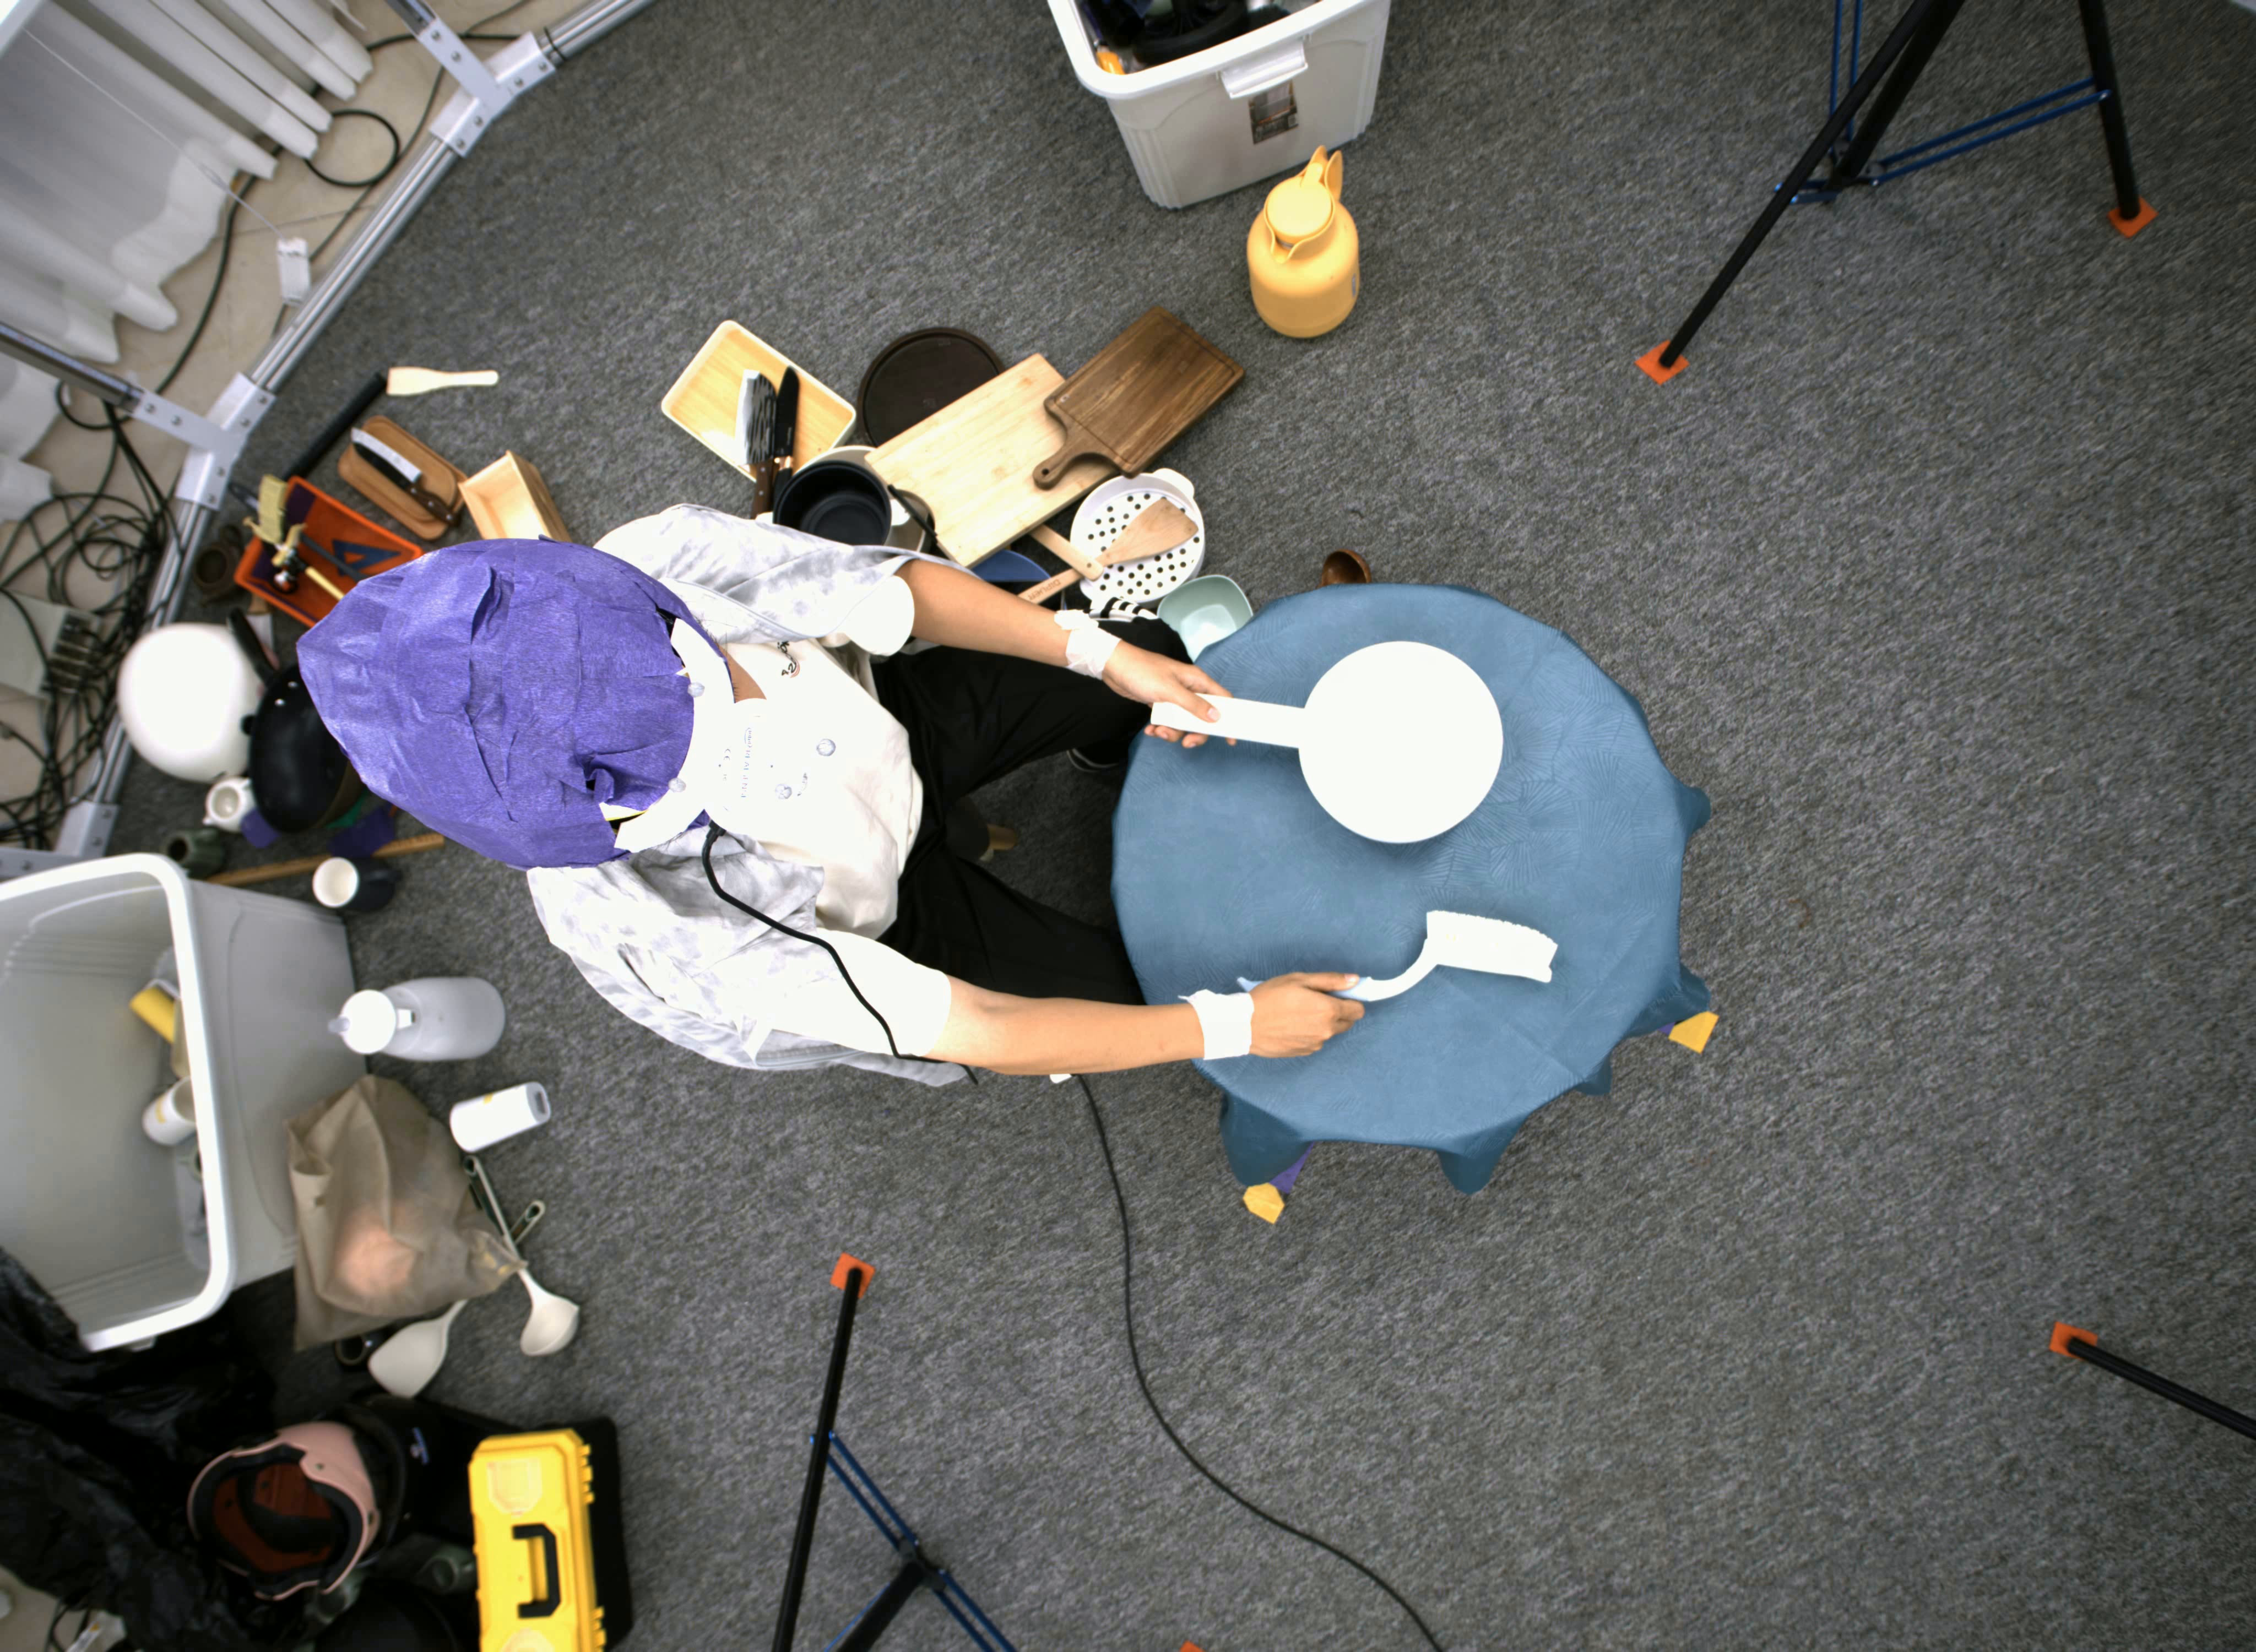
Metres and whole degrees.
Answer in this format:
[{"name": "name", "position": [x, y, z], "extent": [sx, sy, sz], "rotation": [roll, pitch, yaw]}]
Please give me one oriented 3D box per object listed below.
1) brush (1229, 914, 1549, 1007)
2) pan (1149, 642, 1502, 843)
[{"name": "brush", "position": [0.264, 0.127, 1.419], "extent": [0.327, 0.082, 0.085], "rotation": [-4, 124, 12]}, {"name": "pan", "position": [0.203, -0.094, 1.430], "extent": [0.355, 0.102, 0.201], "rotation": [9, 89, 12]}]
